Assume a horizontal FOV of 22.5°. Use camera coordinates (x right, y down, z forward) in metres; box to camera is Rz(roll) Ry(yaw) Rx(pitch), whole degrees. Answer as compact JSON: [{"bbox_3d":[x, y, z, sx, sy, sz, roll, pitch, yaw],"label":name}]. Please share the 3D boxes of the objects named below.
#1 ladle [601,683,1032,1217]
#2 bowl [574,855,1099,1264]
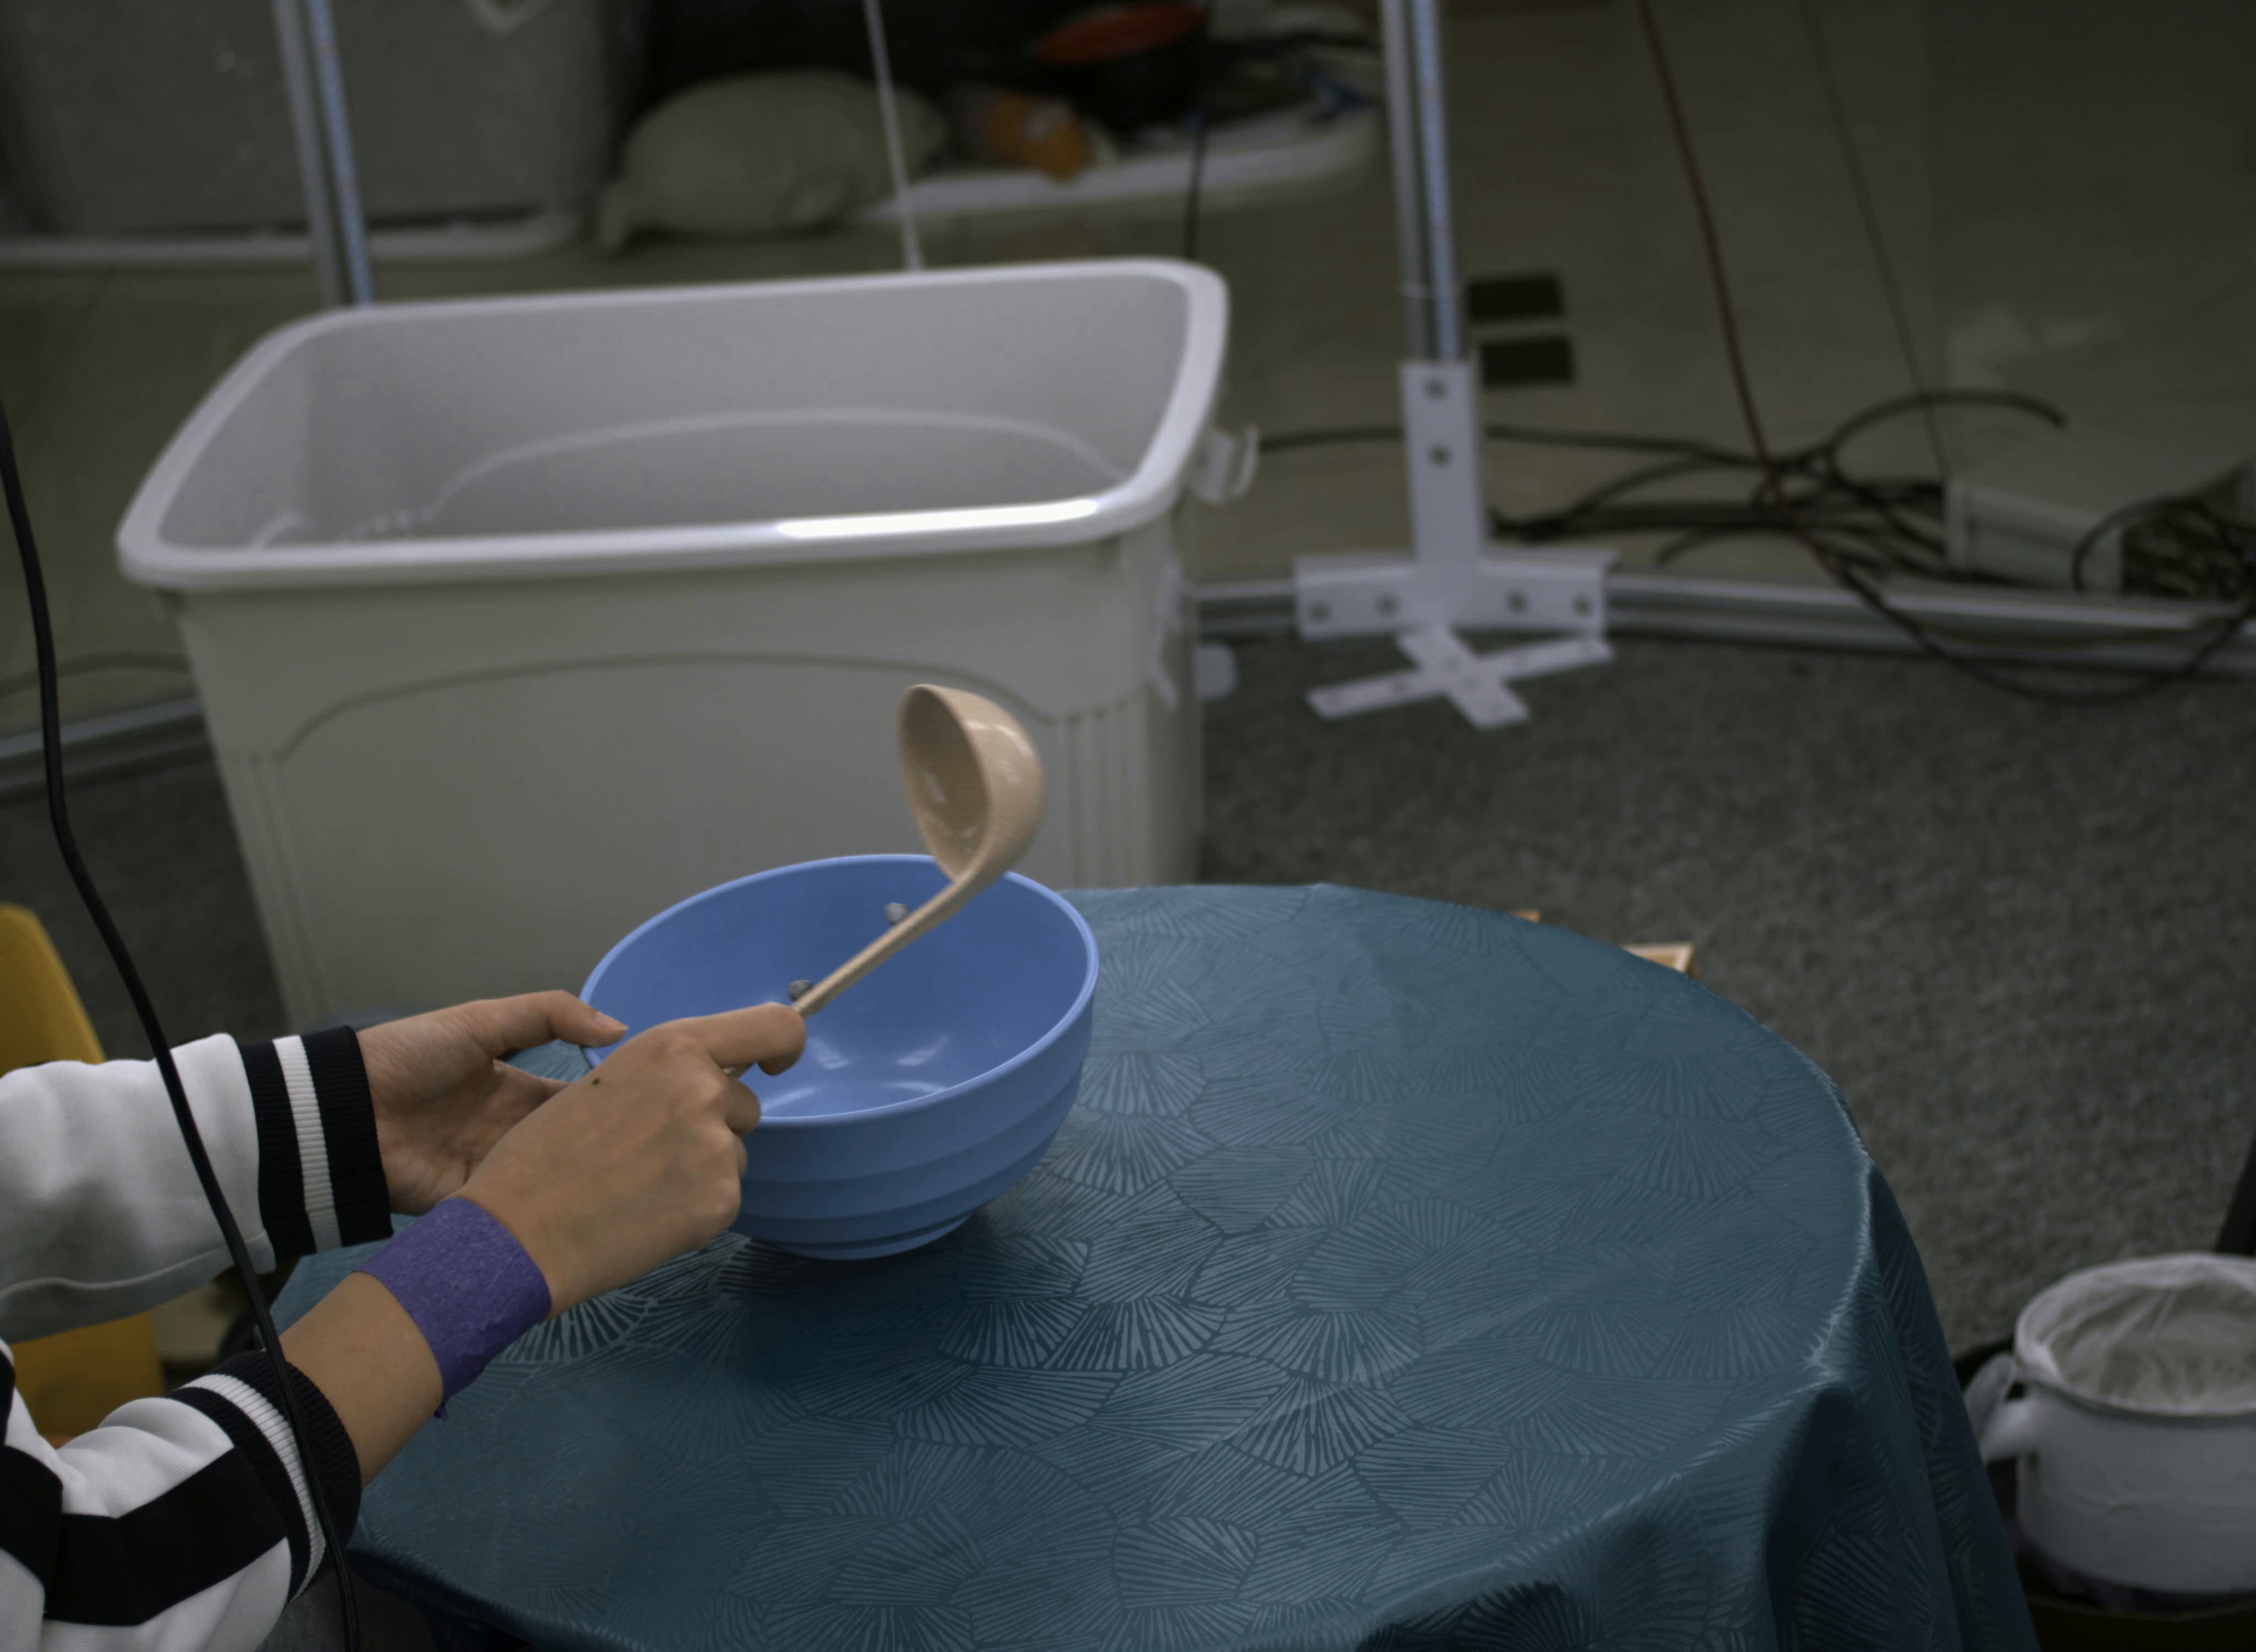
[{"bbox_3d":[-0.126,0.039,1.952,0.072,0.073,0.251,37,53,15],"label":"ladle"},{"bbox_3d":[-0.104,0.100,2.129,0.196,0.097,0.193,-4,30,3],"label":"bowl"}]
